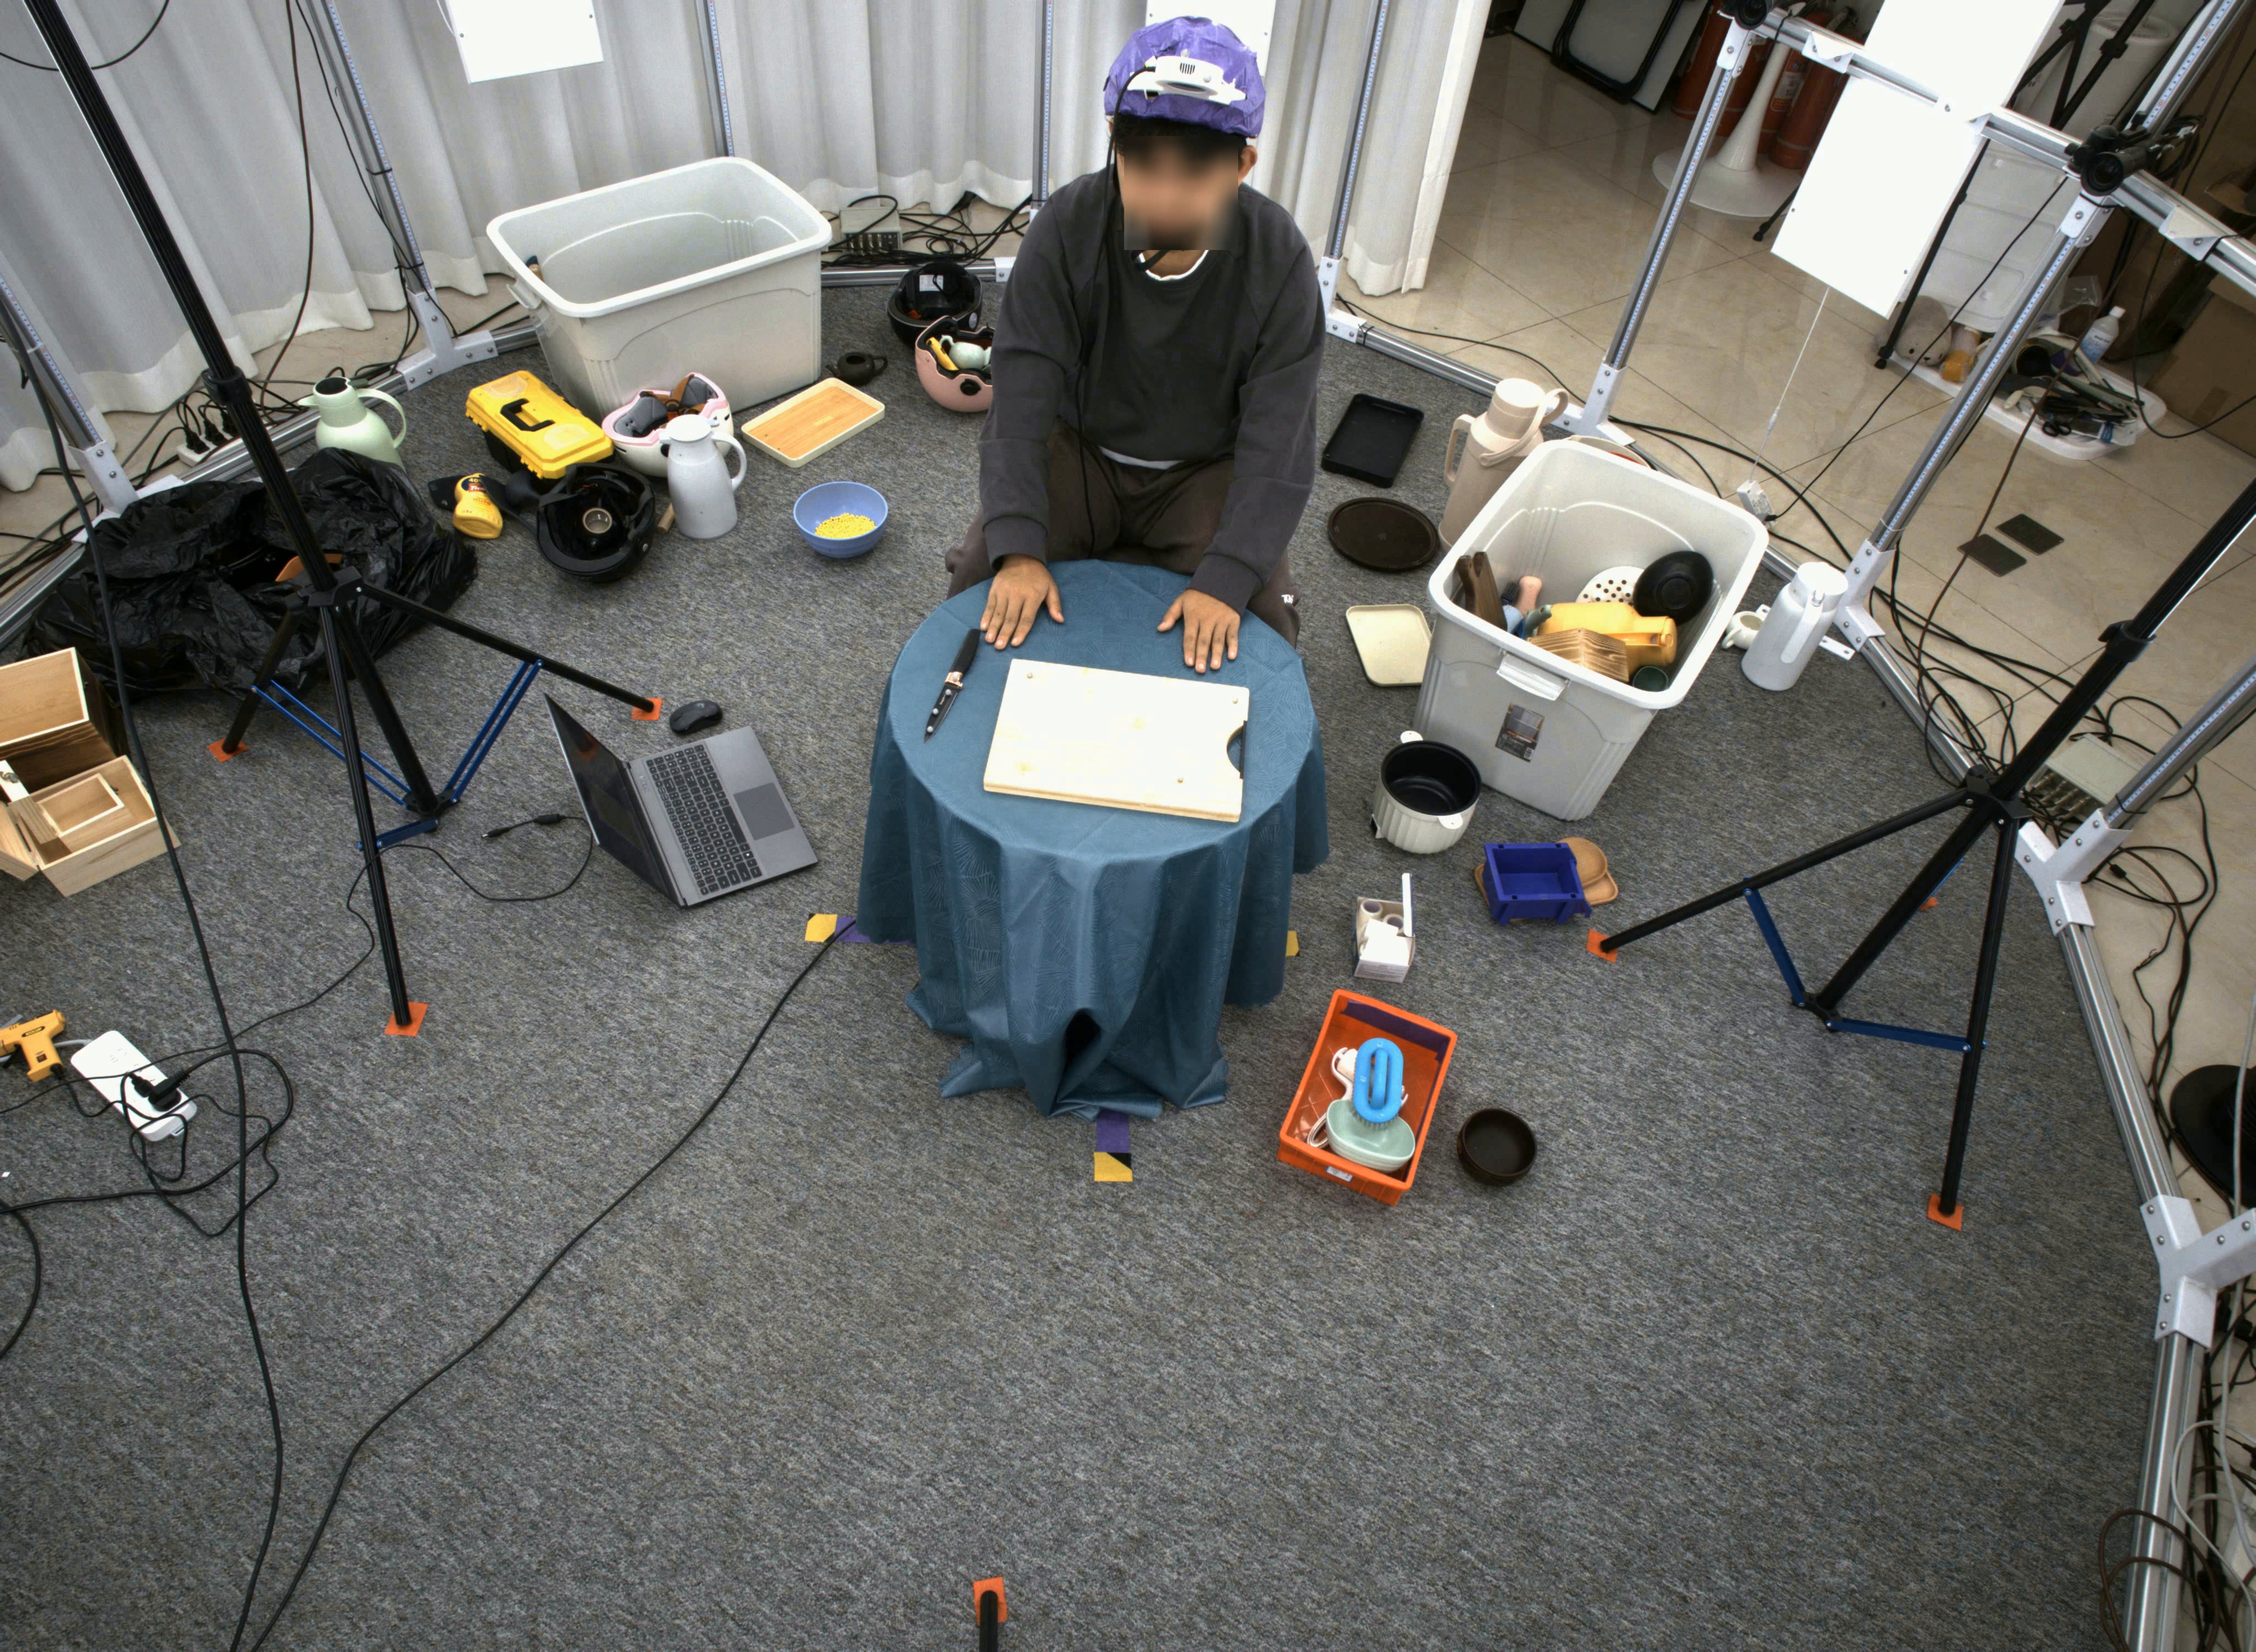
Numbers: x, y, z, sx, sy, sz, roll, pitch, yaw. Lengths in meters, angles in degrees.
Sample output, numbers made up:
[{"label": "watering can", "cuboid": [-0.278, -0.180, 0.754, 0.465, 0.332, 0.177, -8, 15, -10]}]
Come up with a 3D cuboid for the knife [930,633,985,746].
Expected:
[{"label": "knife", "cuboid": [-0.243, -0.195, 1.809, 0.026, 0.017, 0.230, 17, 50, 2]}]

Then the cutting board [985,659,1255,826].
[{"label": "cutting board", "cuboid": [-0.004, -0.120, 1.758, 0.348, 0.023, 0.257, 6, 49, 1]}]
